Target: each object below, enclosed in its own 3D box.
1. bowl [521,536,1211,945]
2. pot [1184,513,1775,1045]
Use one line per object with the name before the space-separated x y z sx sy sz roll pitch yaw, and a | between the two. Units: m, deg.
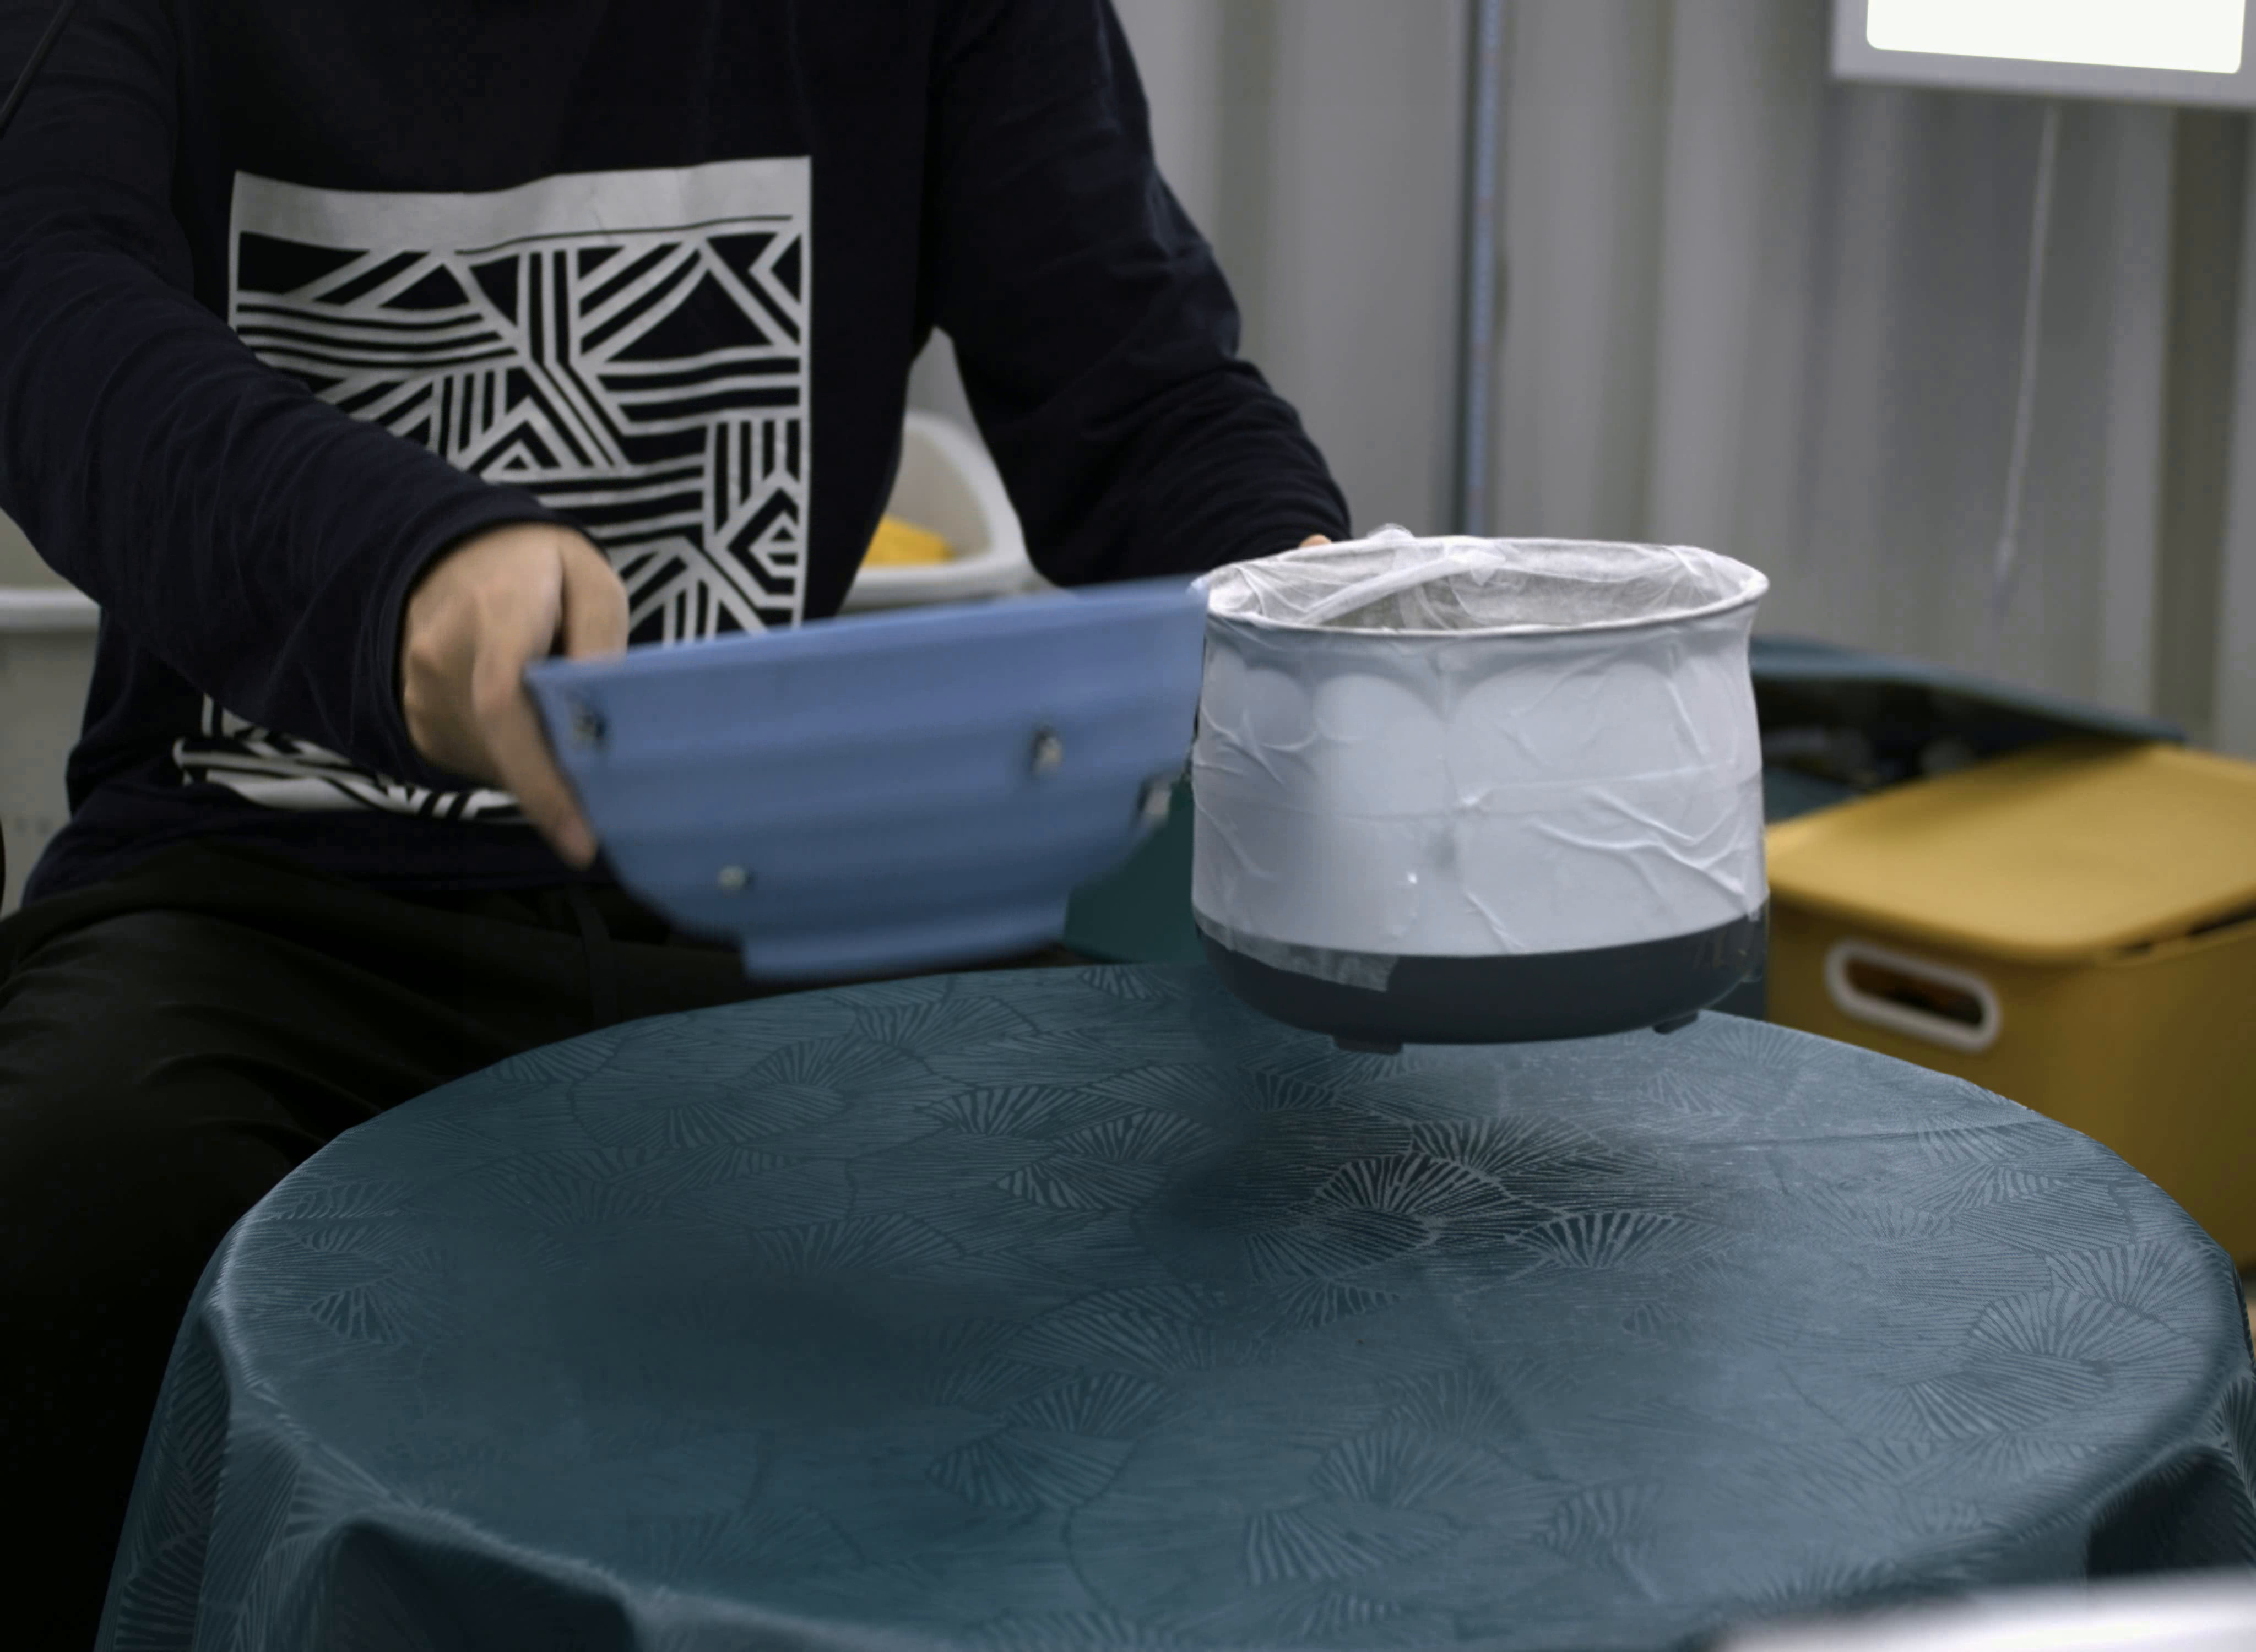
bowl | -0.067 -0.021 1.484 0.196 0.096 0.196 -8 5 1
pot | 0.099 -0.019 1.634 0.179 0.137 0.231 -2 12 -14
